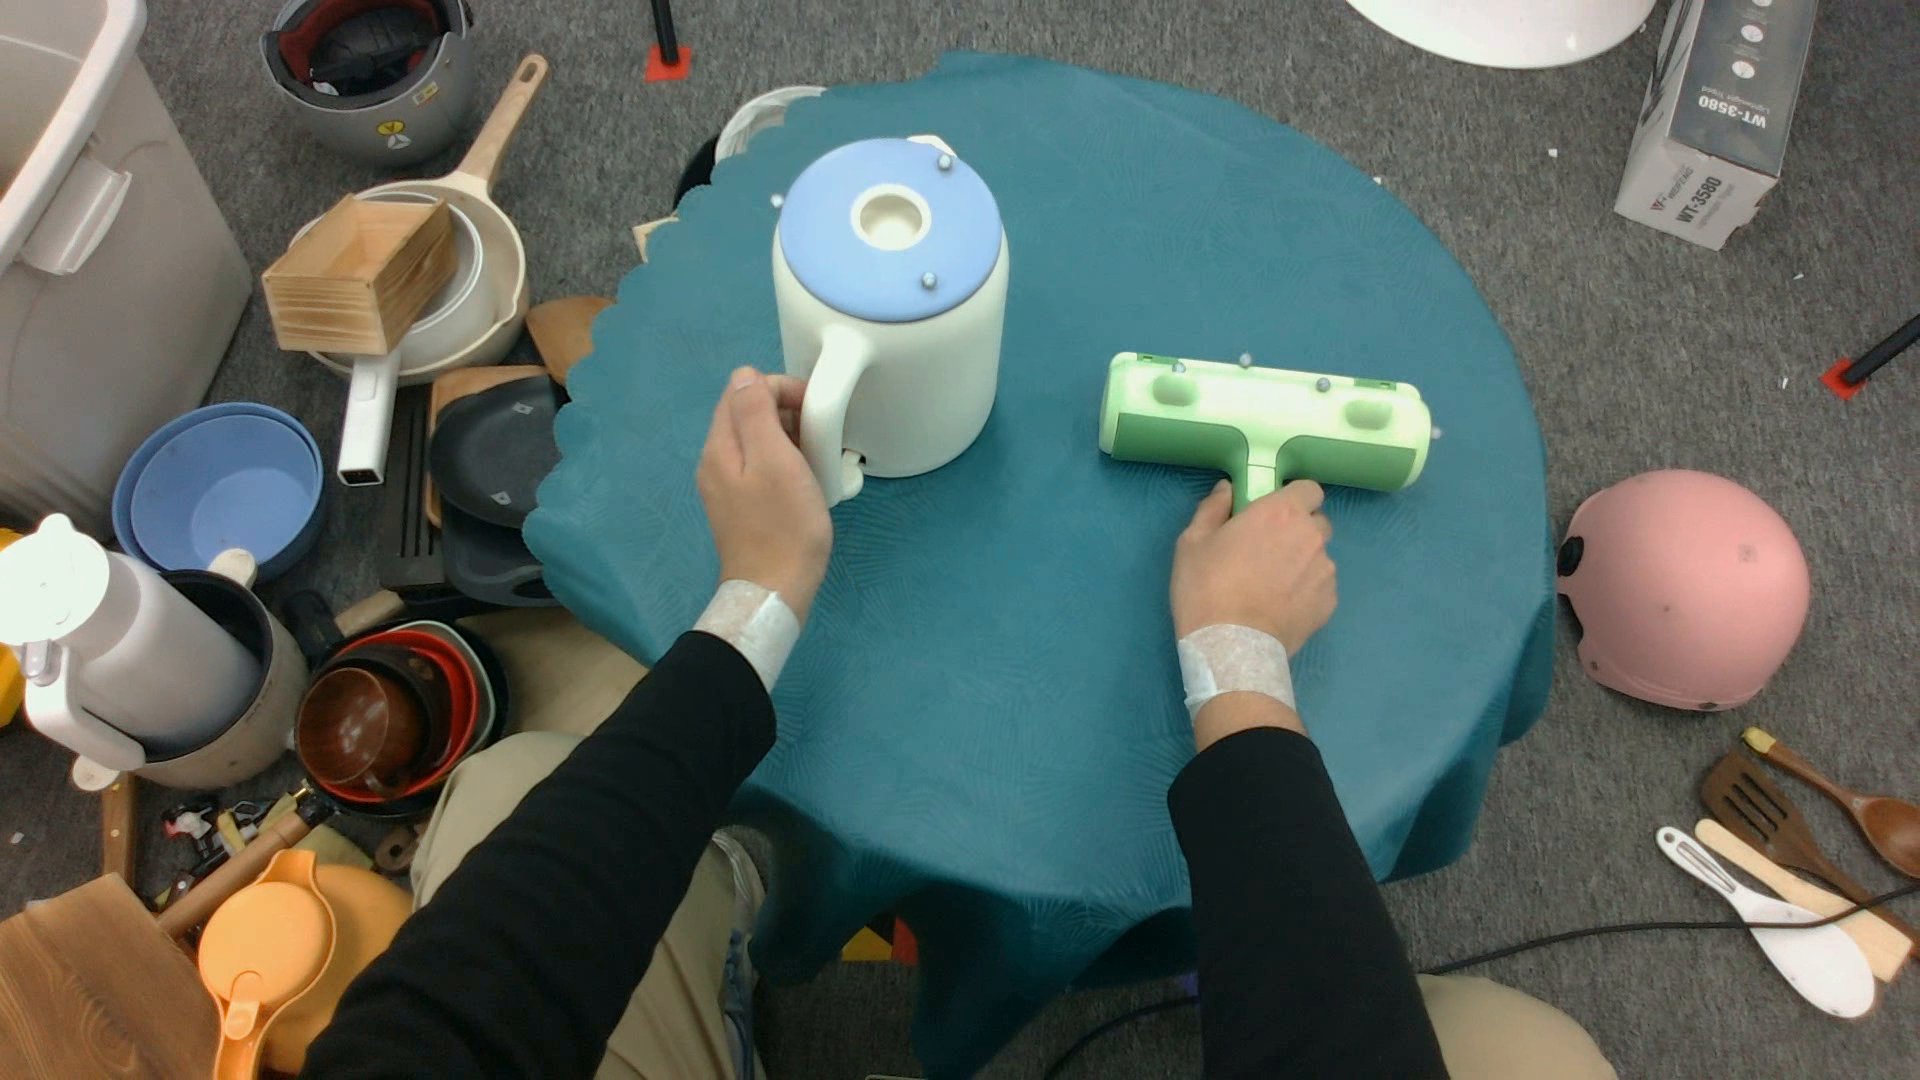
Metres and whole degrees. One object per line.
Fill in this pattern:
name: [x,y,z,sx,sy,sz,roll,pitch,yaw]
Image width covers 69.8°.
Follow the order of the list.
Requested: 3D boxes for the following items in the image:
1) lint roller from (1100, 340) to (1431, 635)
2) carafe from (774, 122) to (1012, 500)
lint roller: [0.180,-0.039,0.814,0.198,0.082,0.184,7,56,2]
carafe: [-0.046,-0.117,0.793,0.132,0.182,0.192,17,67,6]
